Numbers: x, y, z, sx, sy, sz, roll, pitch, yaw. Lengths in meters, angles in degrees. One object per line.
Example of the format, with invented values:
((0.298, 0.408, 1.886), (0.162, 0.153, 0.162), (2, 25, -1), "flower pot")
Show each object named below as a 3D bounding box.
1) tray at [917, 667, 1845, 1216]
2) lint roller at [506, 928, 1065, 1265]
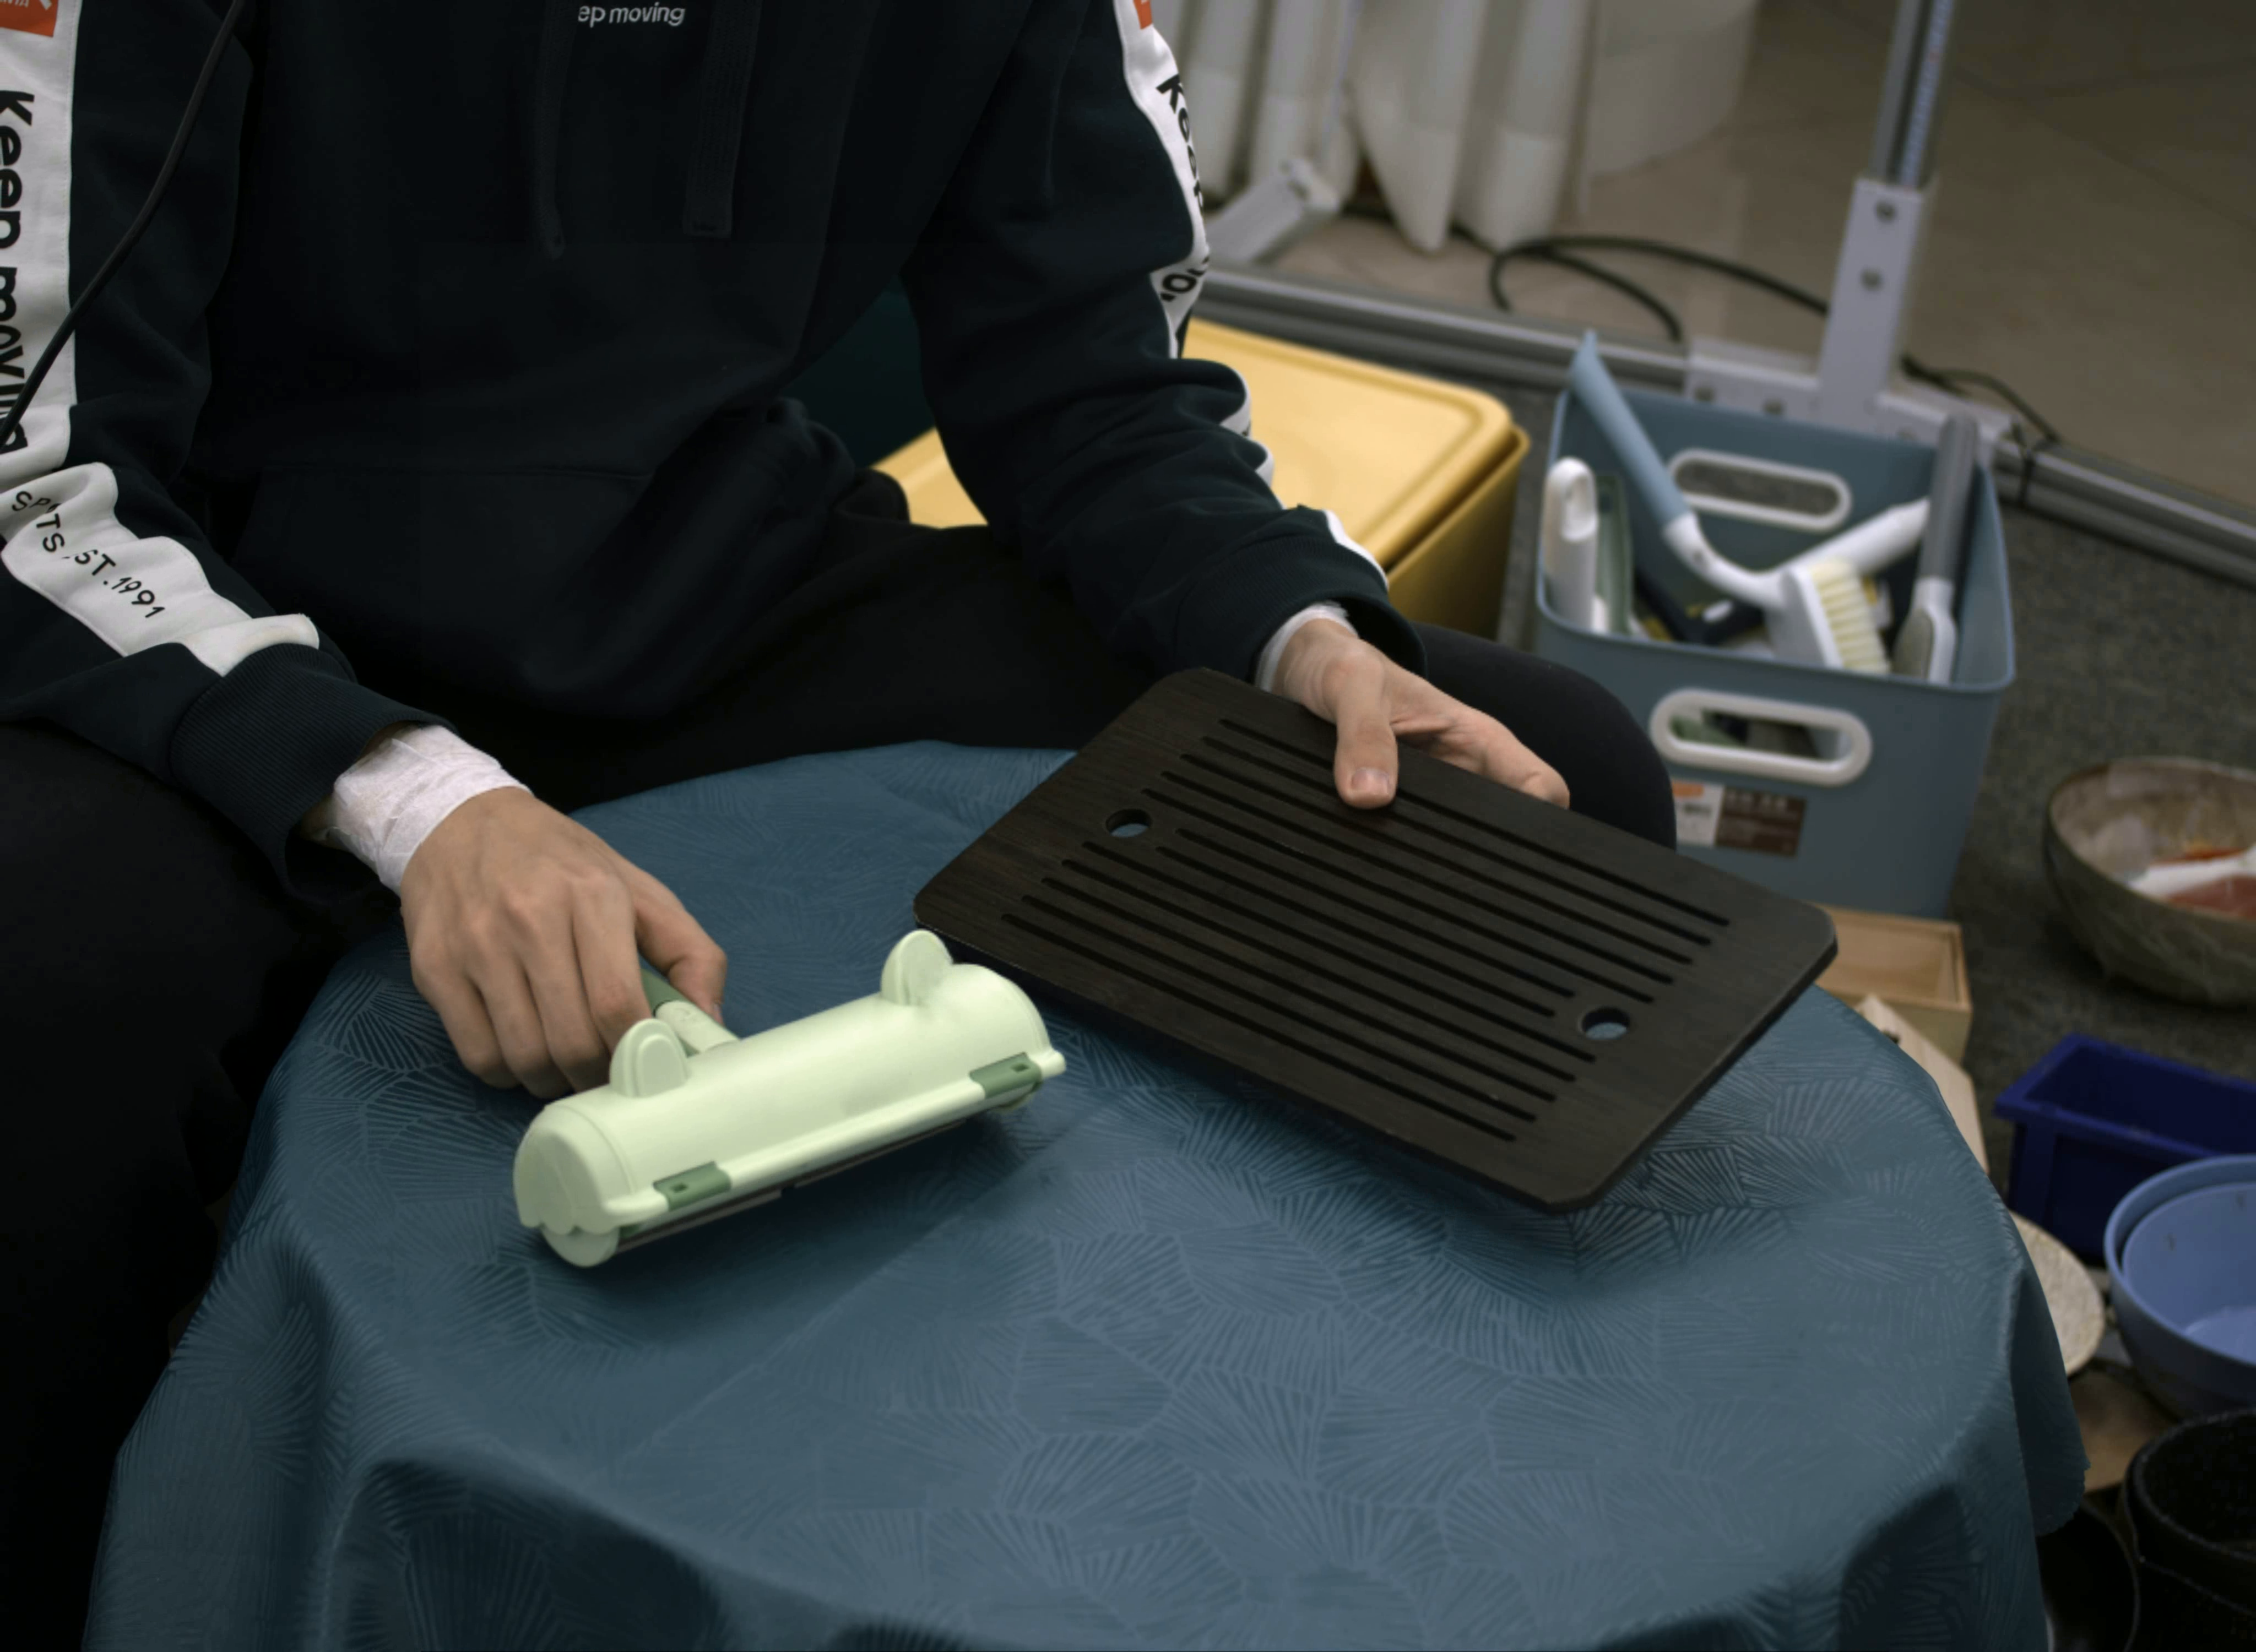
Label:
((0.087, 0.038, 1.898), (0.308, 0.018, 0.170), (22, 50, 35), "tray")
((-0.148, 0.063, 1.795), (0.197, 0.082, 0.185), (-17, 39, -39), "lint roller")
